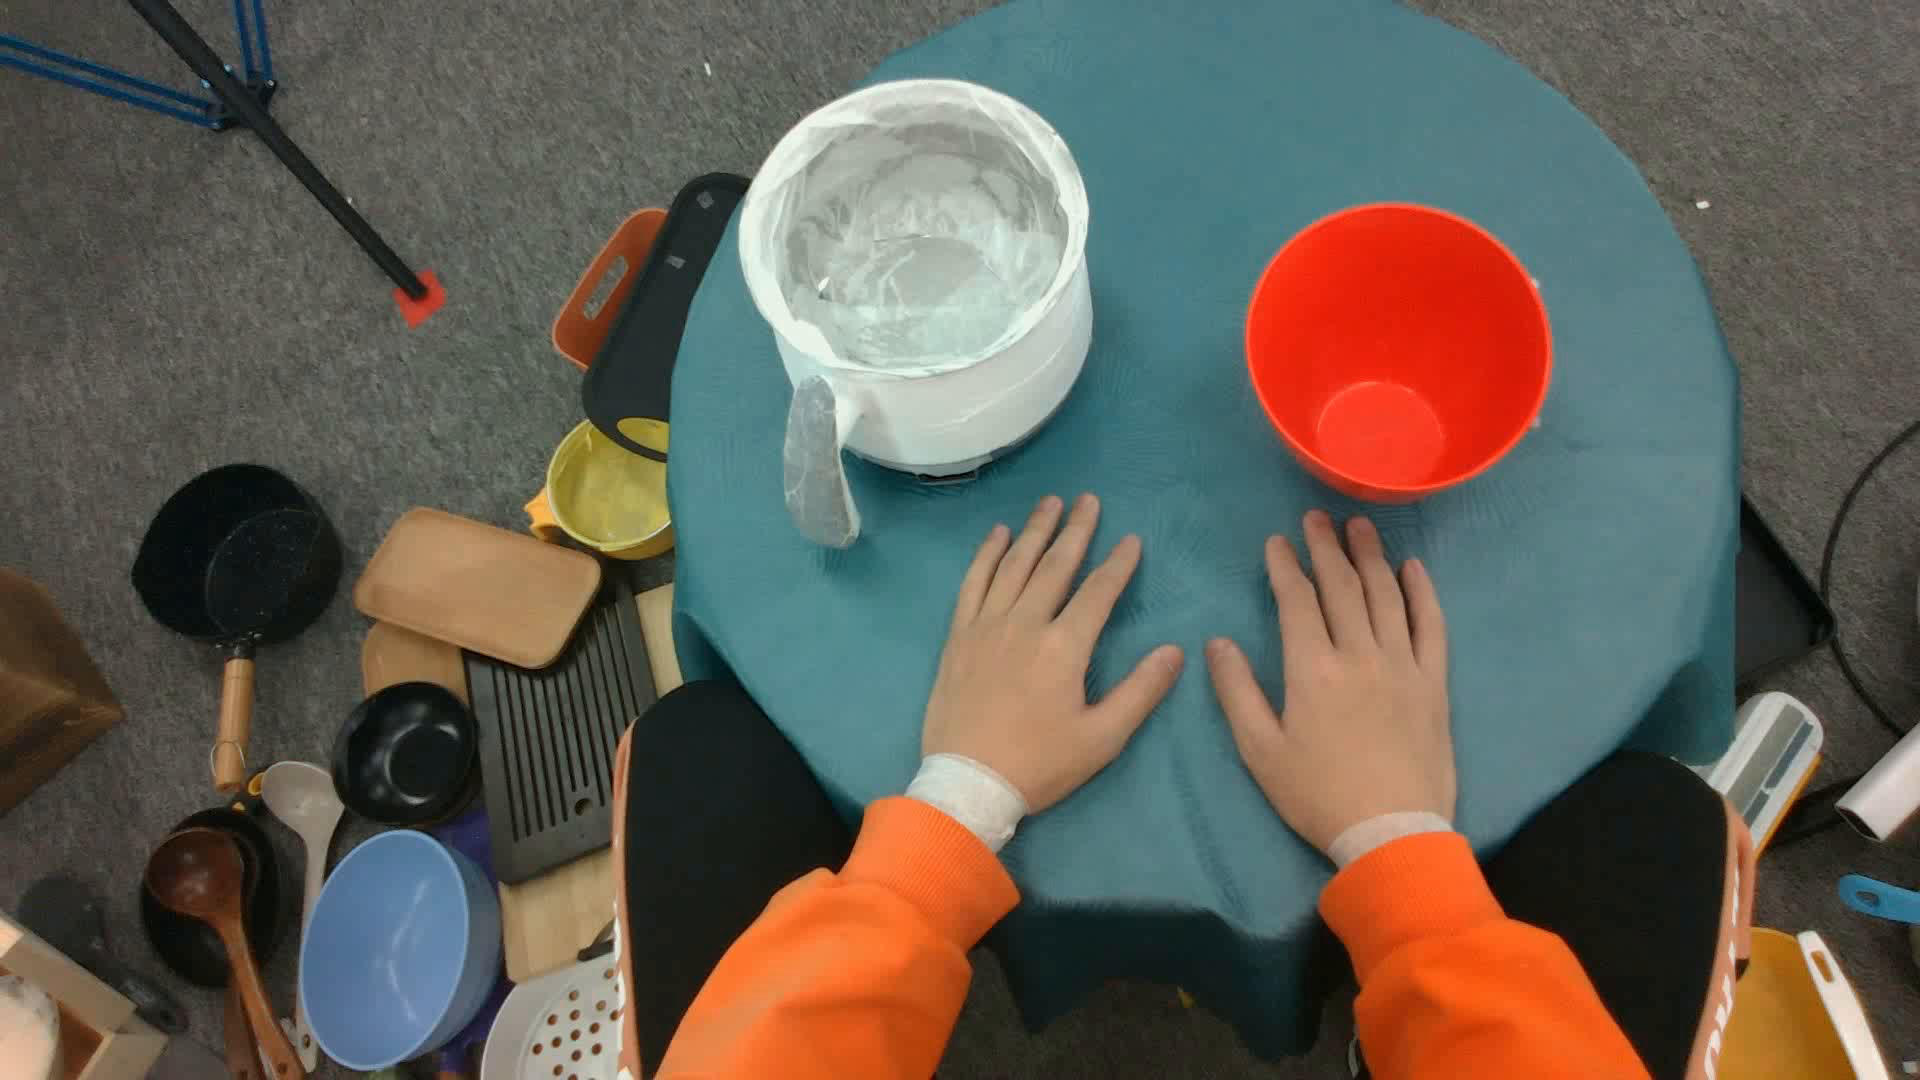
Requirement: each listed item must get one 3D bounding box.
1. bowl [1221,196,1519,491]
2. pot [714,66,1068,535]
[{"bbox_3d":[0.209,-0.090,0.726,0.148,0.104,0.148,-2,70,5],"label":"bowl"},{"bbox_3d":[-0.042,-0.120,0.740,0.178,0.136,0.234,21,72,14],"label":"pot"}]
